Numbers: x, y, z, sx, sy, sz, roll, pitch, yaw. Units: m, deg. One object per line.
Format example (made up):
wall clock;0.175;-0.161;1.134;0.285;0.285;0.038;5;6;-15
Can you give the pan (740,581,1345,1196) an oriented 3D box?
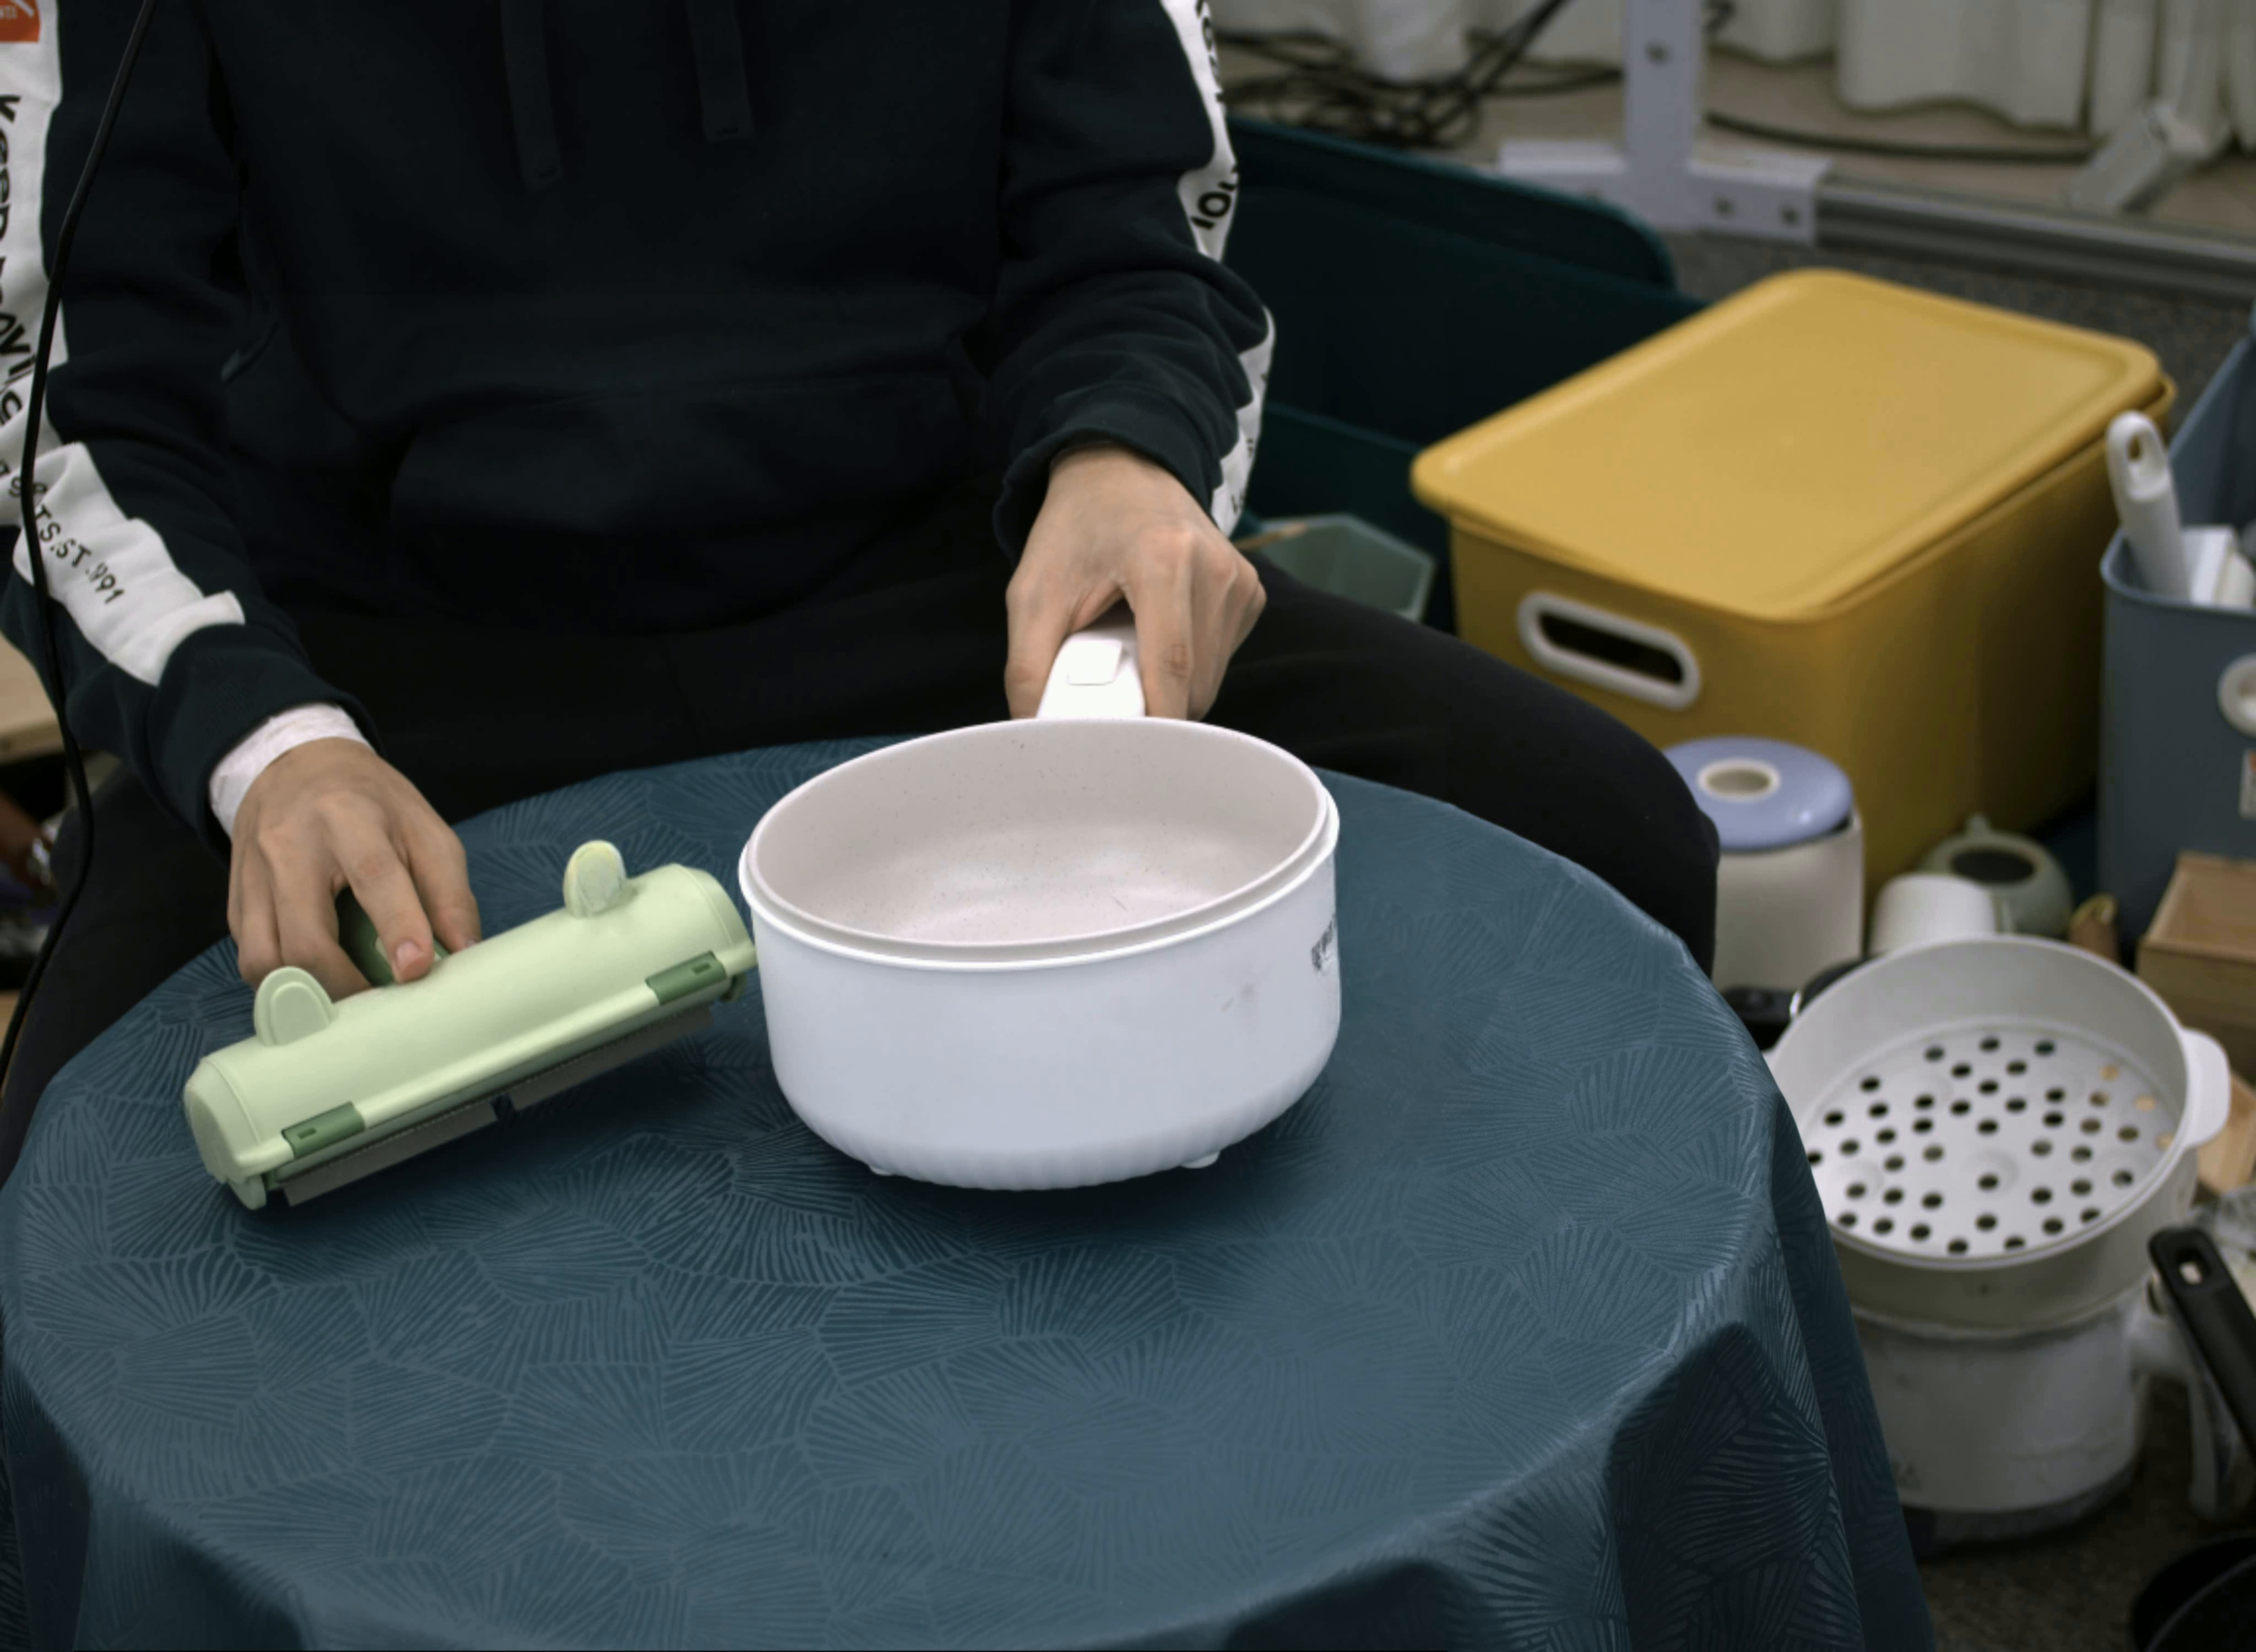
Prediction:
pan;-0.015;0.019;1.957;0.200;0.101;0.360;-3;21;9

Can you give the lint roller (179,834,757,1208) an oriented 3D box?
lint roller;-0.251;0.038;1.934;0.200;0.081;0.184;-23;39;-22
